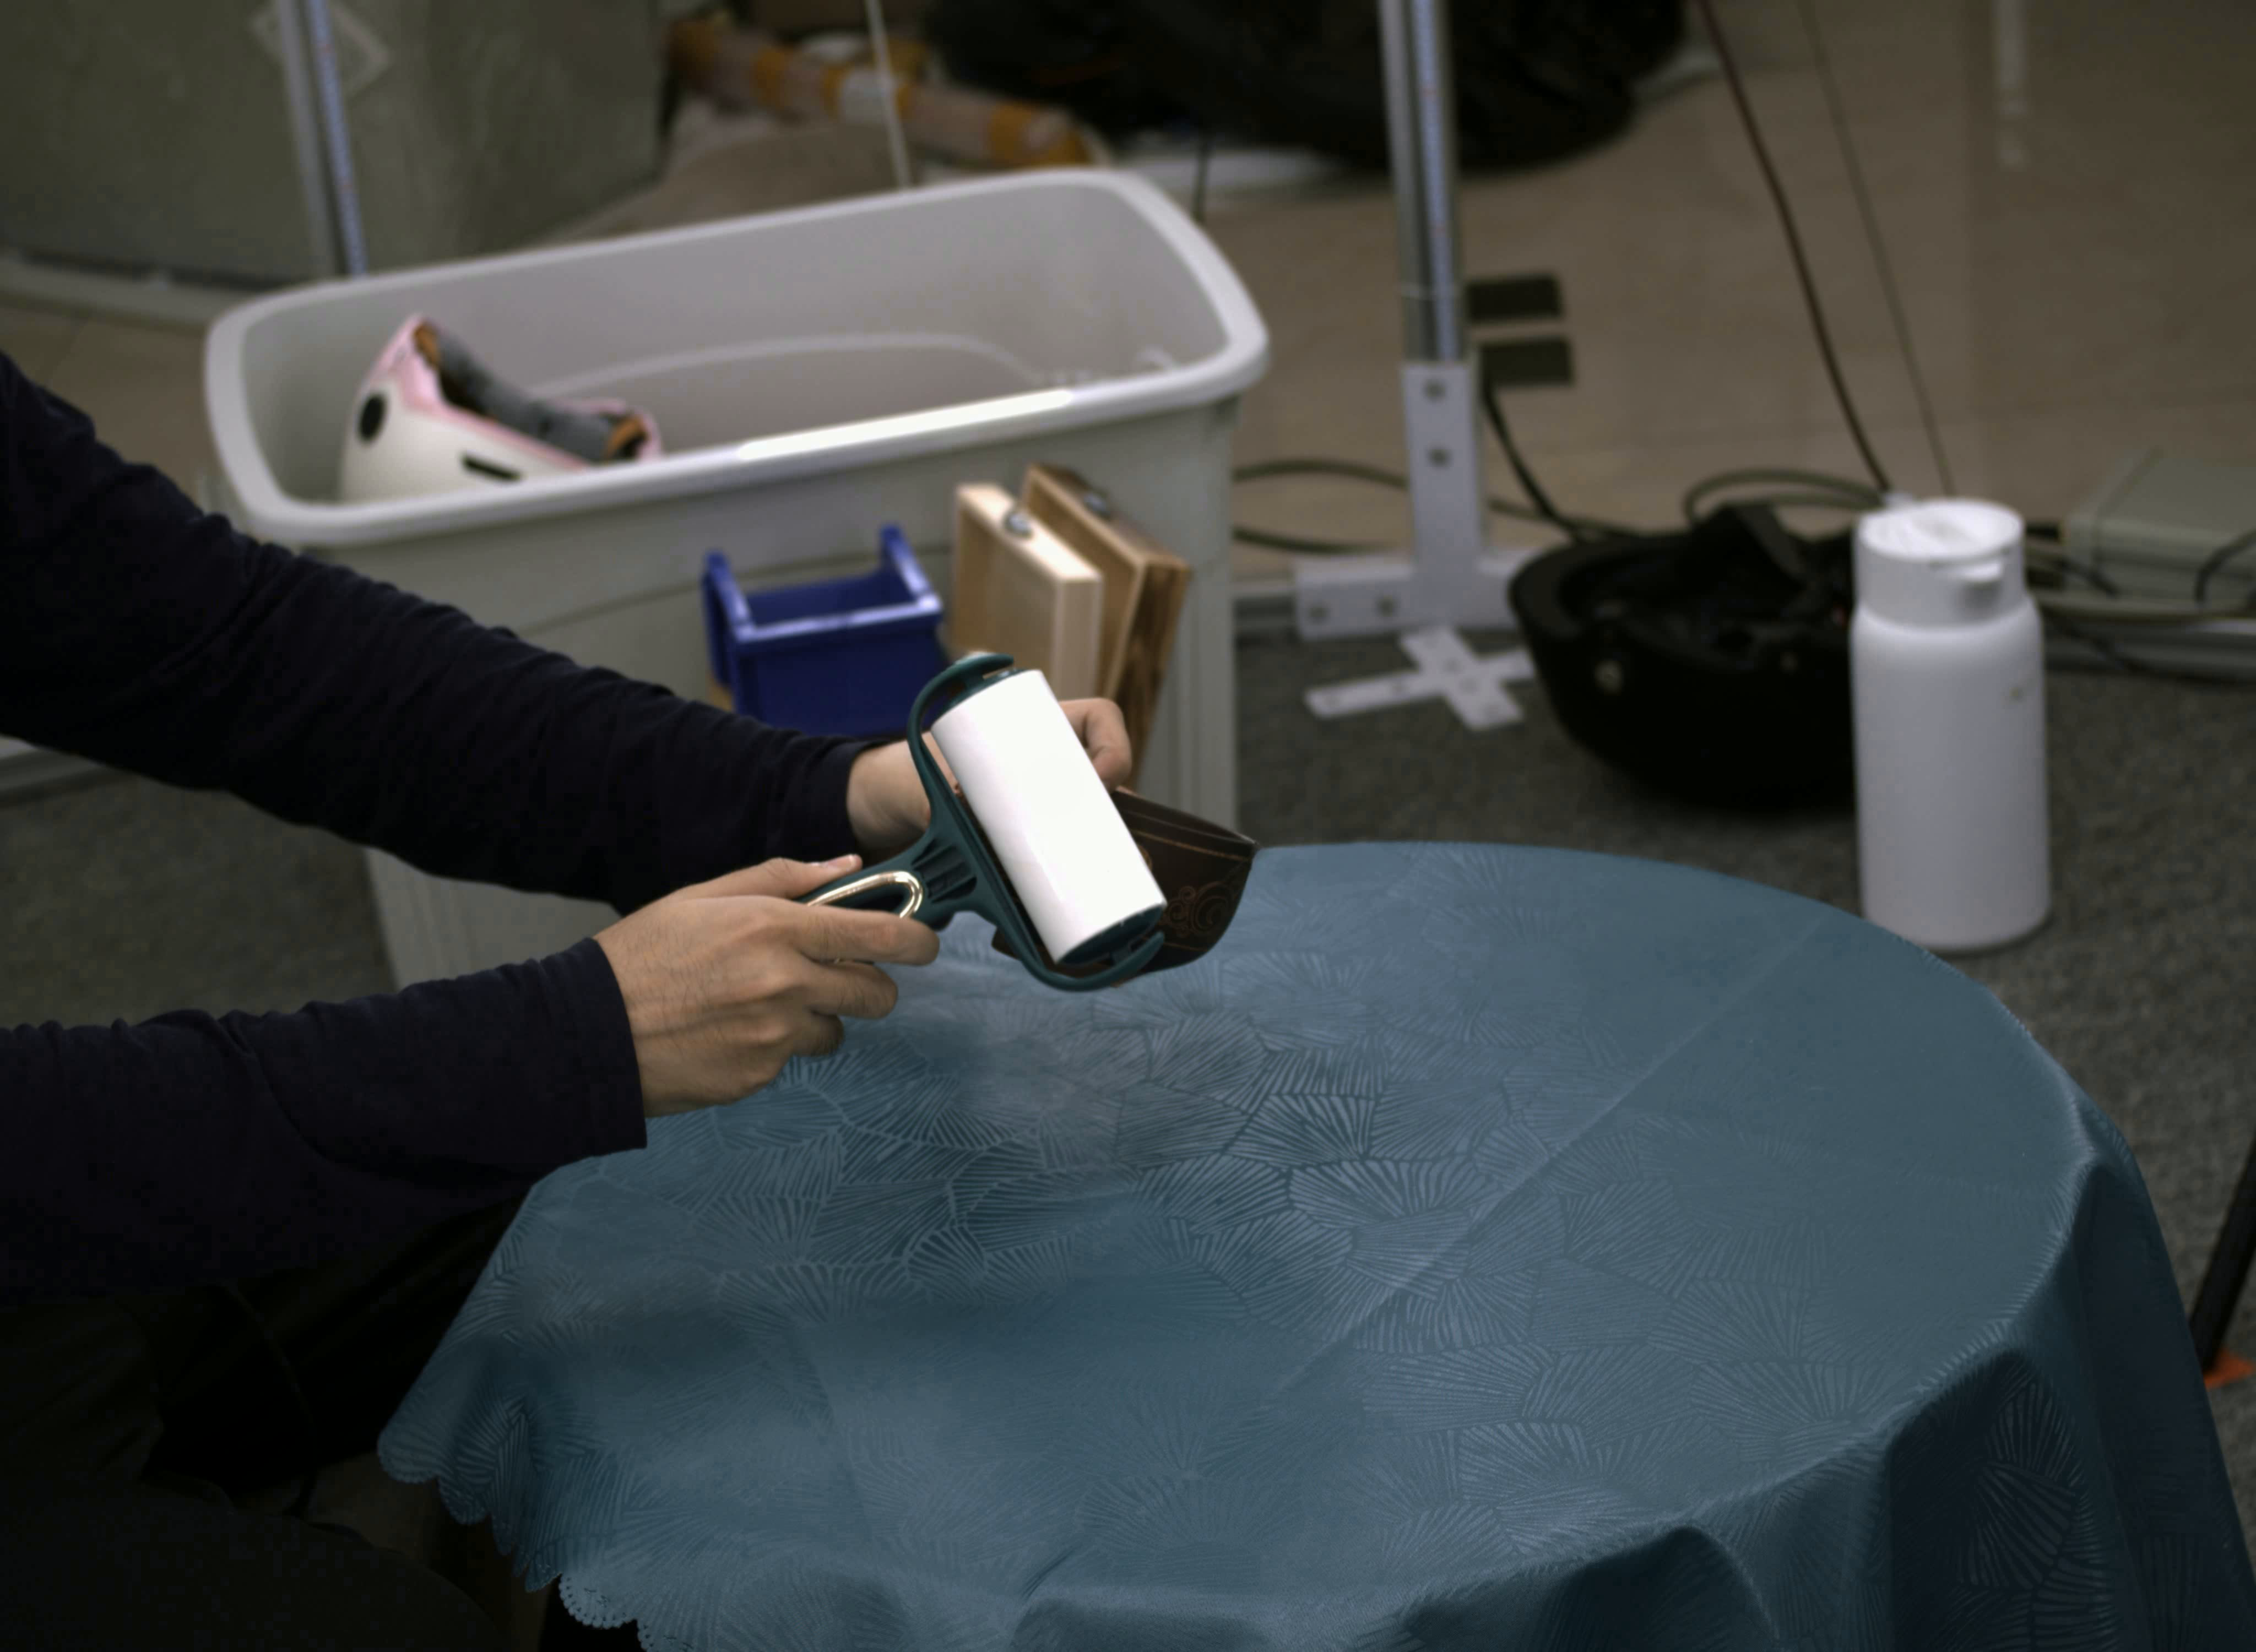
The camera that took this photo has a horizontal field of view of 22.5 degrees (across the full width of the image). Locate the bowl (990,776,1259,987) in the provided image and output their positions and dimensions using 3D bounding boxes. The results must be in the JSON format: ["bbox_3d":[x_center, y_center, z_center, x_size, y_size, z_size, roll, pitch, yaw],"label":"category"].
[{"bbox_3d":[-0.014,0.021,2.174,0.118,0.070,0.117,14,6,-2],"label":"bowl"}]

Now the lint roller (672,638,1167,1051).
[{"bbox_3d":[-0.088,0.030,2.078,0.180,0.134,0.048,-28,-6,-4],"label":"lint roller"}]
